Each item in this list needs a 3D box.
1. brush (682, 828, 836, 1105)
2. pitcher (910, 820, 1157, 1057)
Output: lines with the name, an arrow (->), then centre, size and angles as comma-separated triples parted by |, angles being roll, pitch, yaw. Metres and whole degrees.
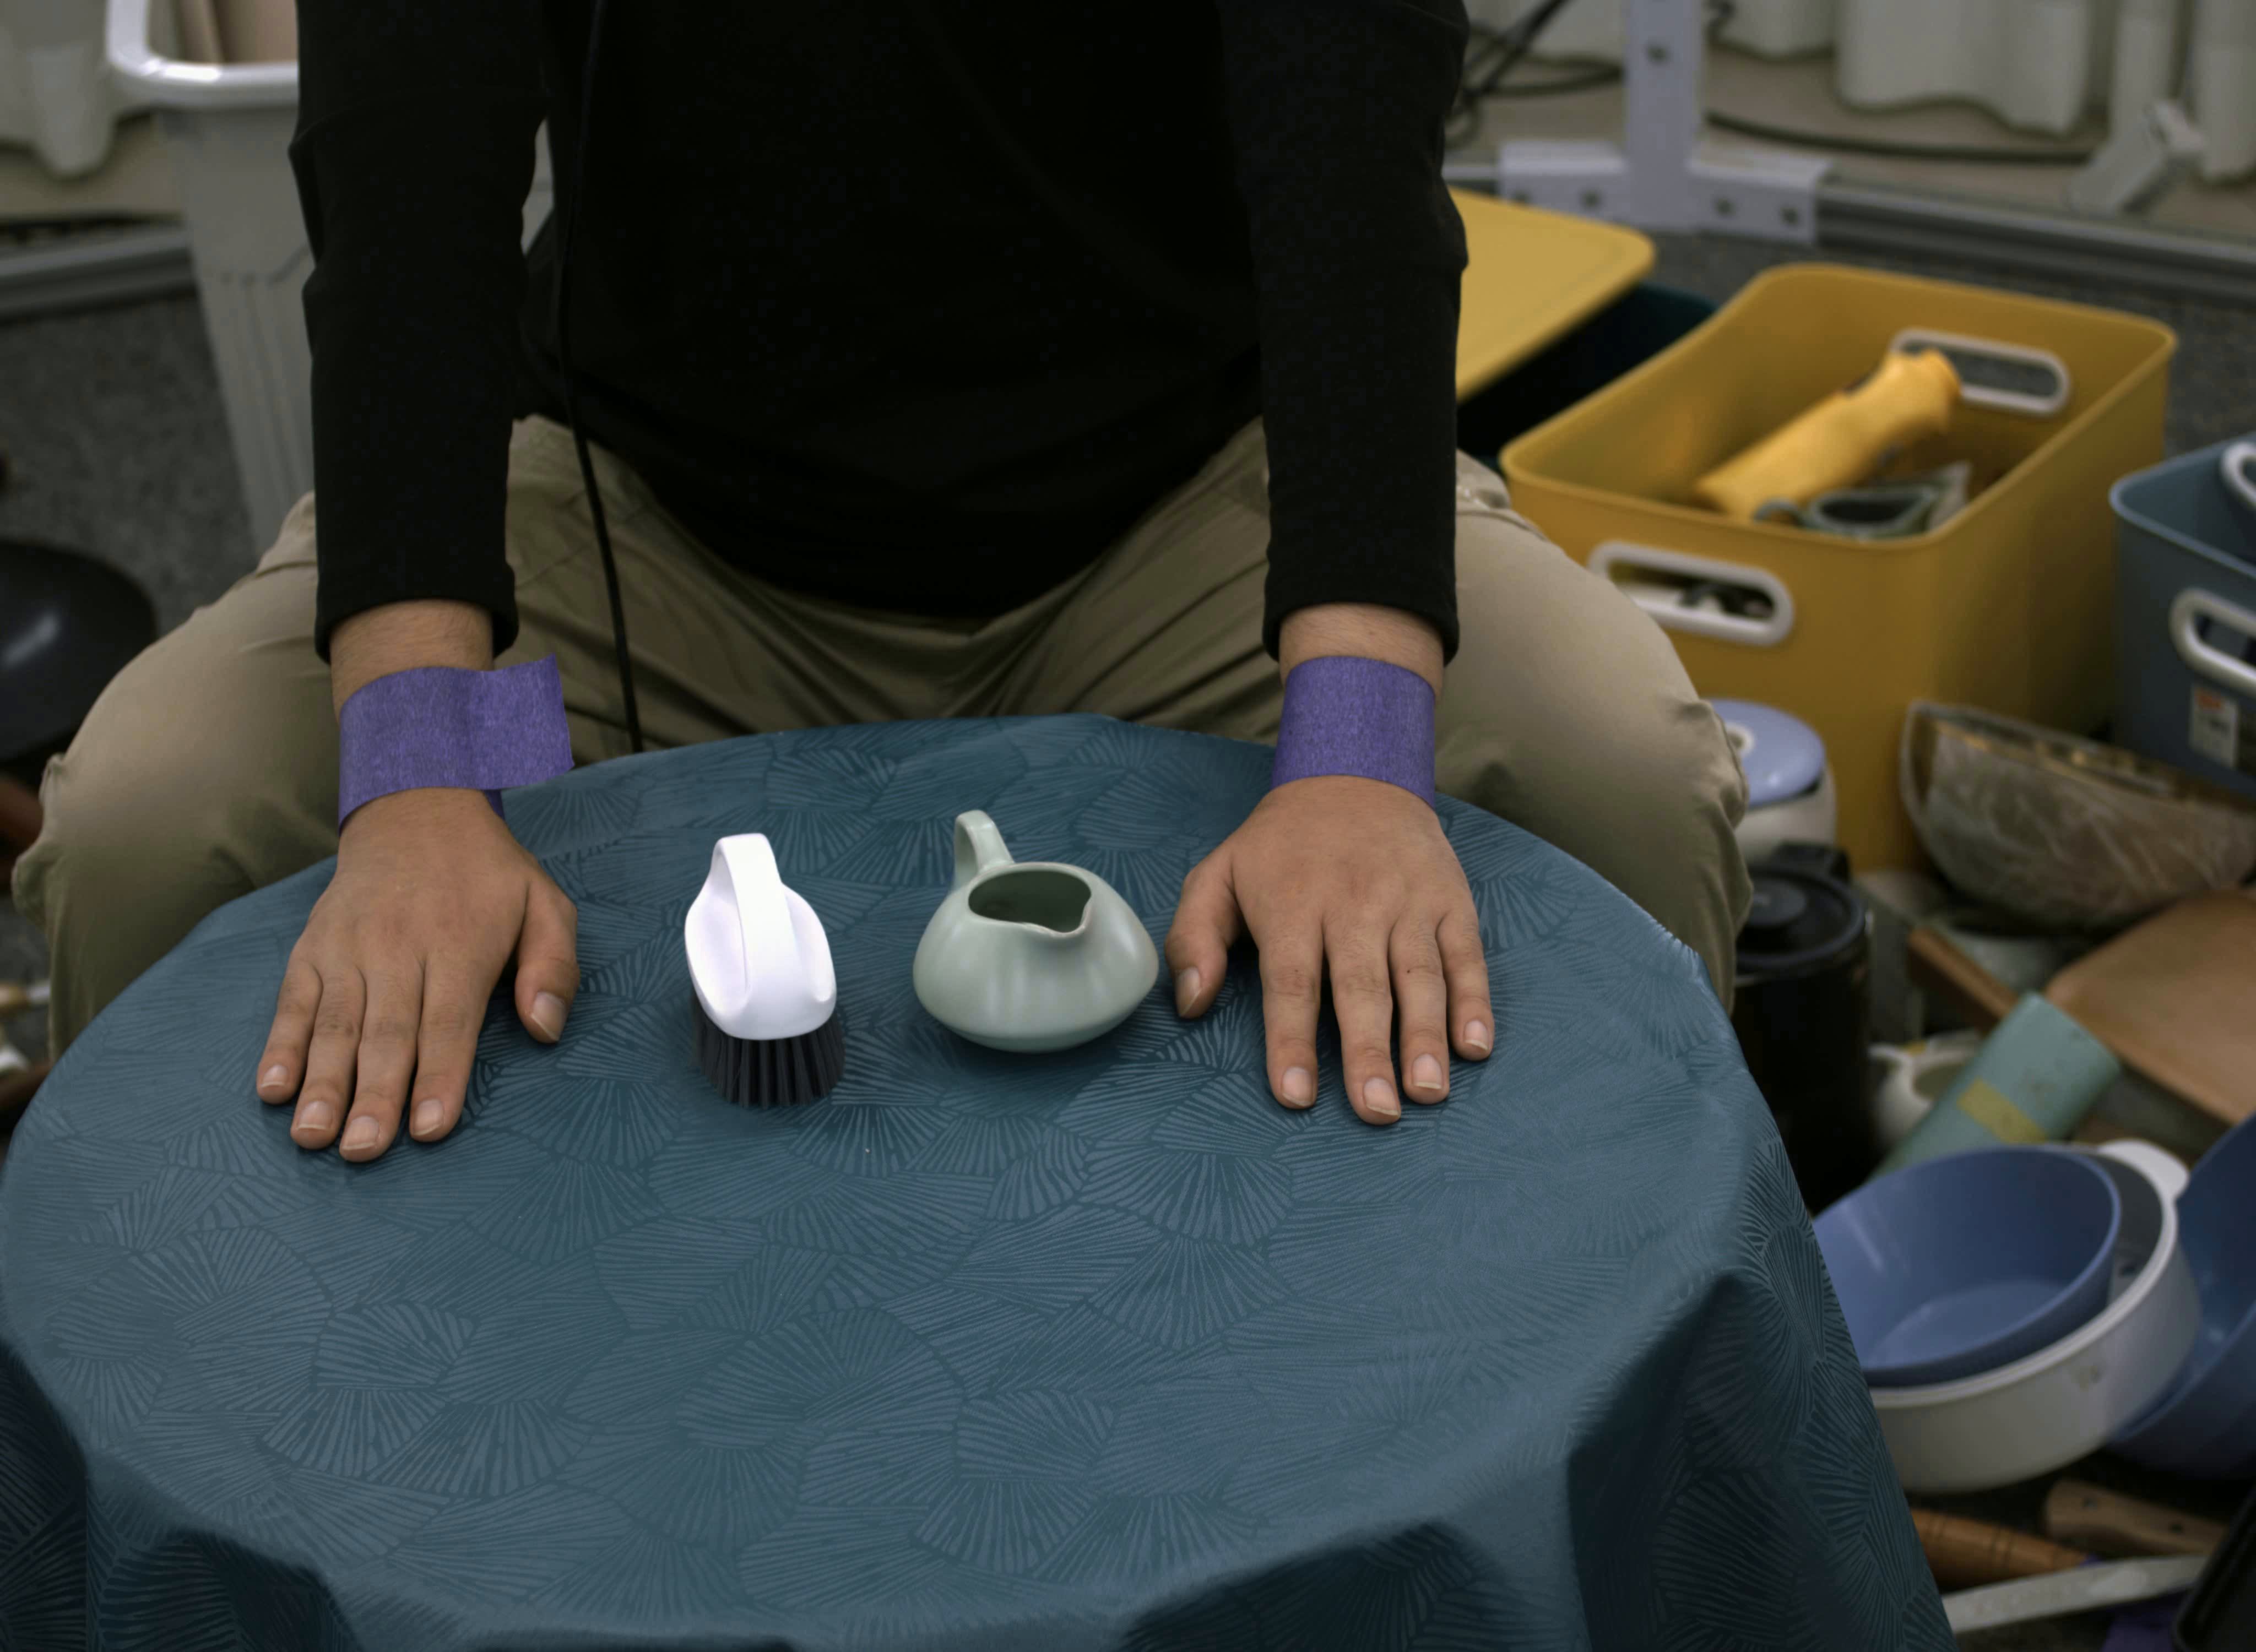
brush -> -0.129, 0.042, 1.947 | 0.050, 0.071, 0.100 | -5, 28, -8
pitcher -> -0.038, 0.040, 1.964 | 0.086, 0.060, 0.108 | -14, 26, -21
